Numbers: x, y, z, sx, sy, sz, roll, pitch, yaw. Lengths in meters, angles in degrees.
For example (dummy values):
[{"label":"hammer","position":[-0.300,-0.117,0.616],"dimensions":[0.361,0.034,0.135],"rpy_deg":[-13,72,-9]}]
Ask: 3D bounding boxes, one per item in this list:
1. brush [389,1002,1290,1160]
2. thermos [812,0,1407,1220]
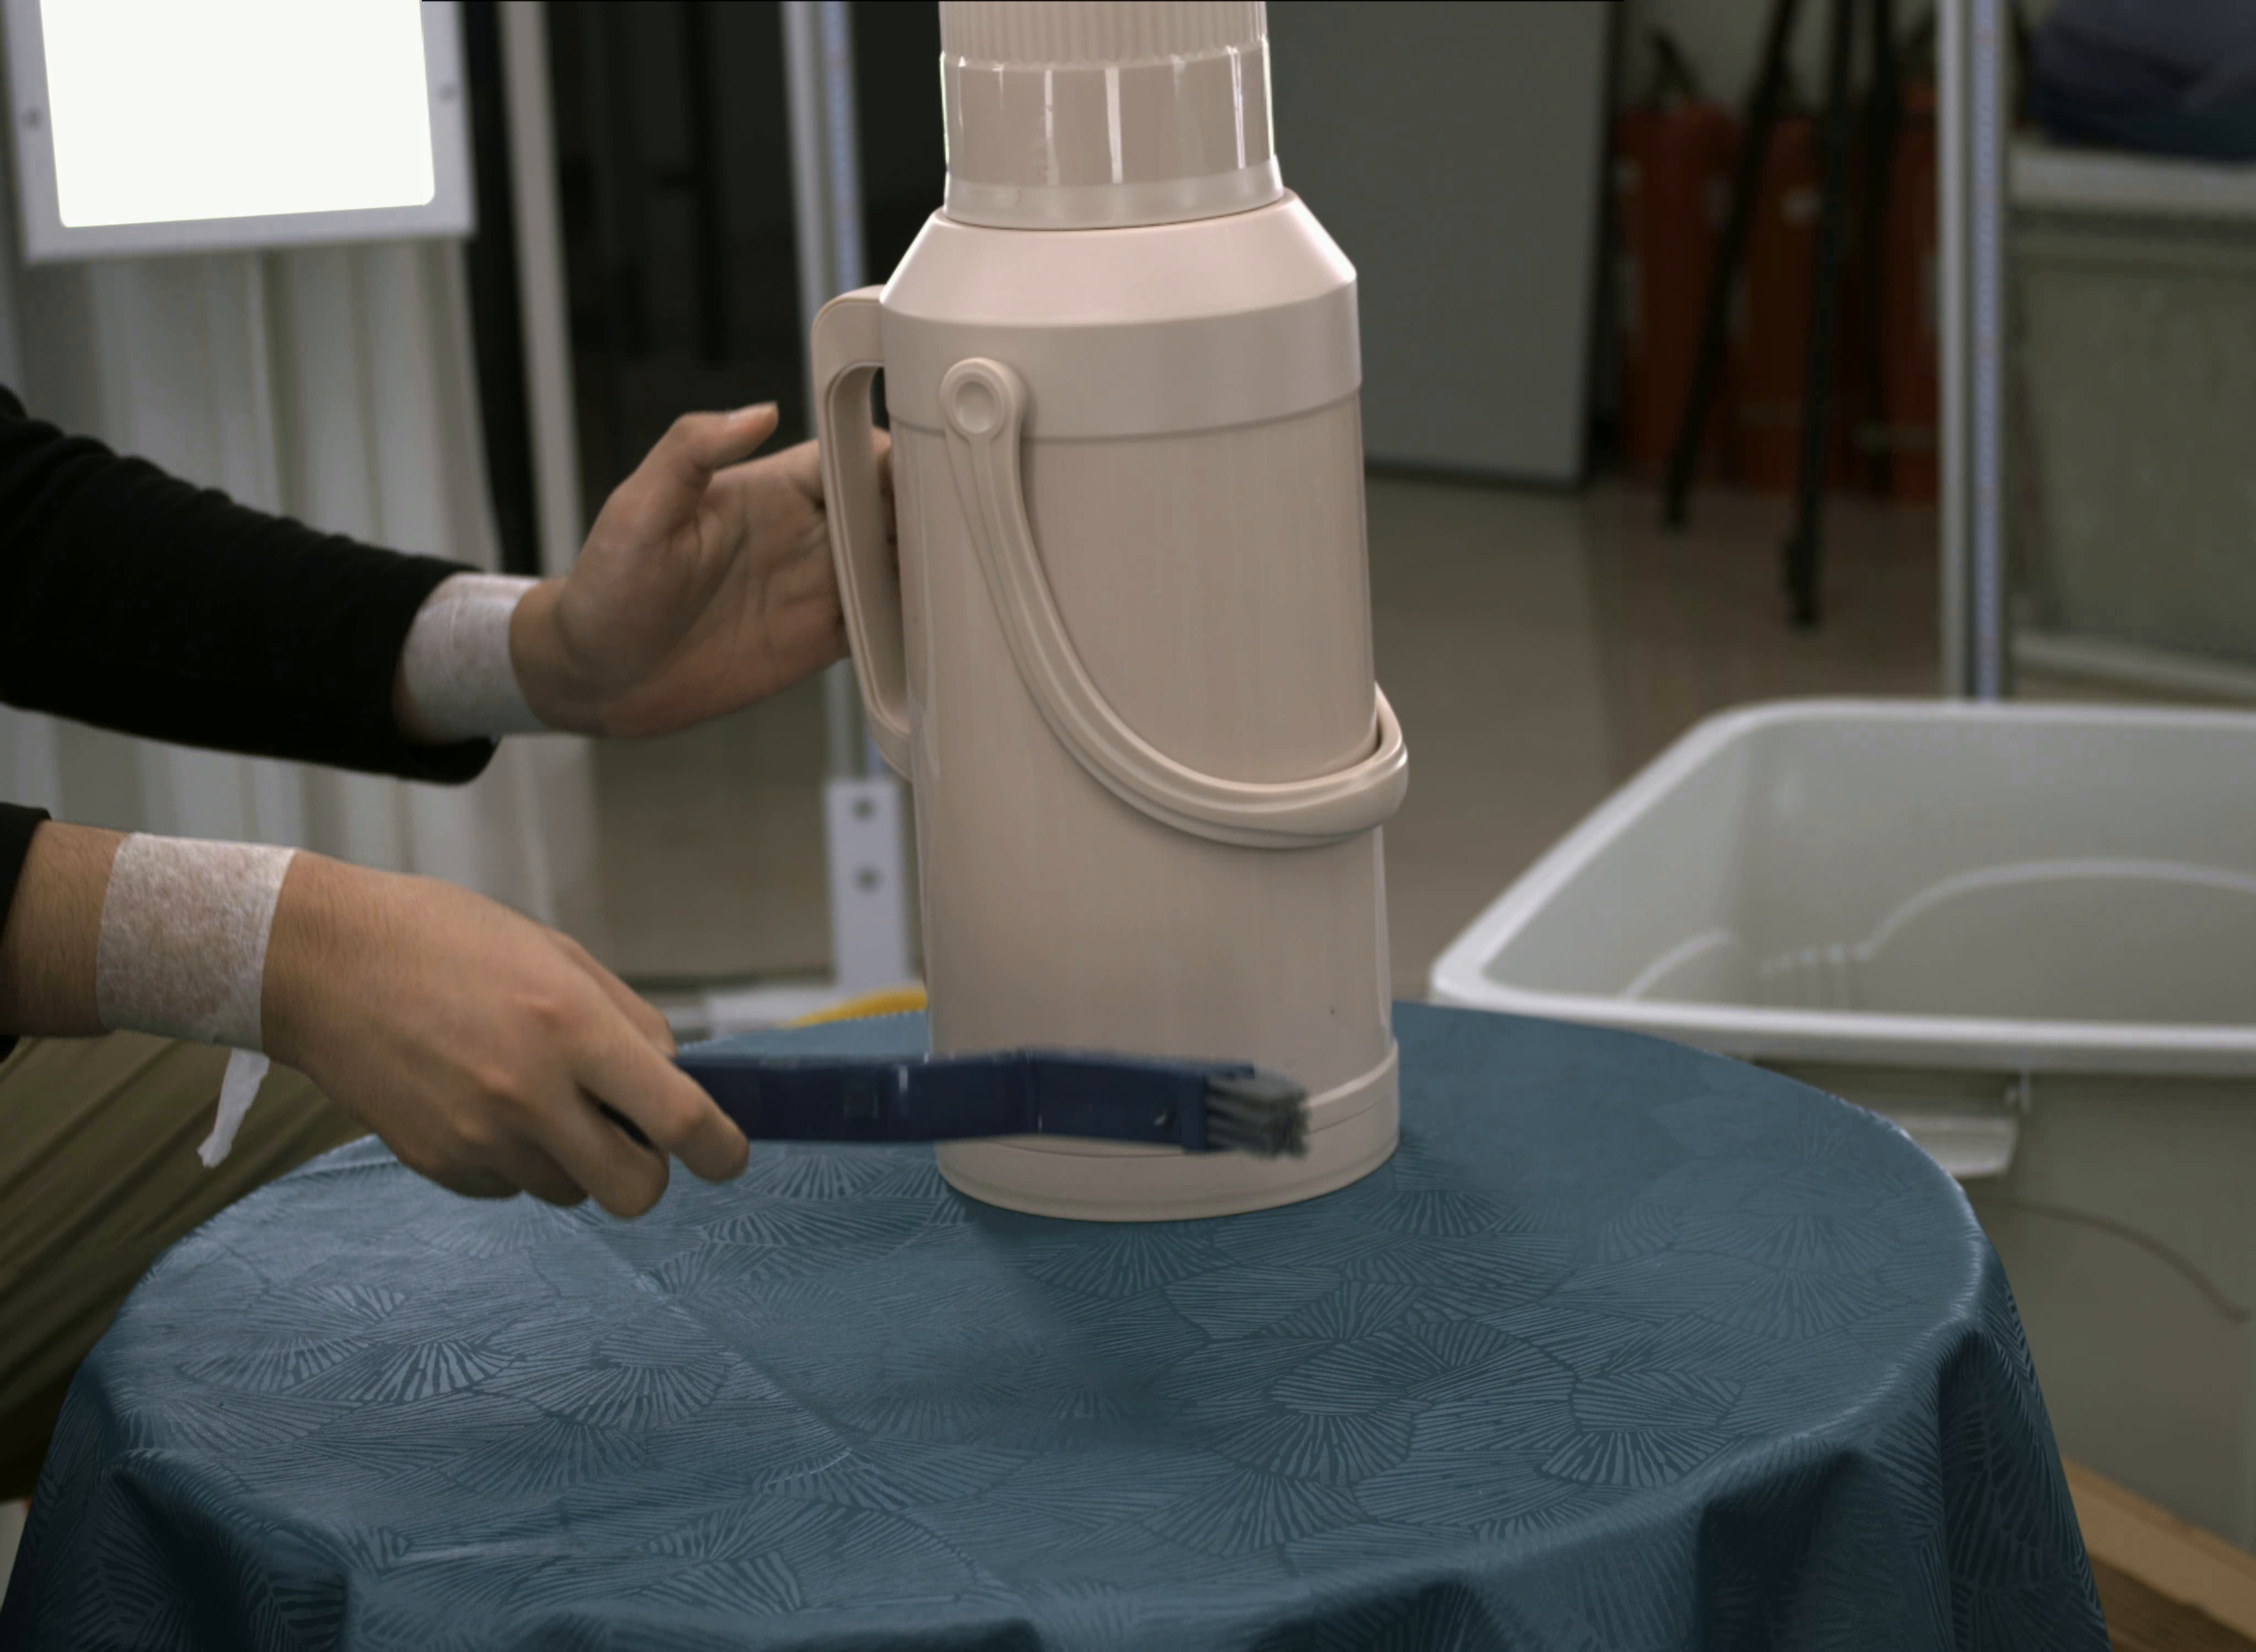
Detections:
[{"label":"brush","position":[-0.087,0.074,1.574],"dimensions":[0.270,0.034,0.095],"rpy_deg":[0,9,5]},{"label":"thermos","position":[-0.009,-0.086,1.778],"dimensions":[0.208,0.411,0.172],"rpy_deg":[5,17,32]}]
